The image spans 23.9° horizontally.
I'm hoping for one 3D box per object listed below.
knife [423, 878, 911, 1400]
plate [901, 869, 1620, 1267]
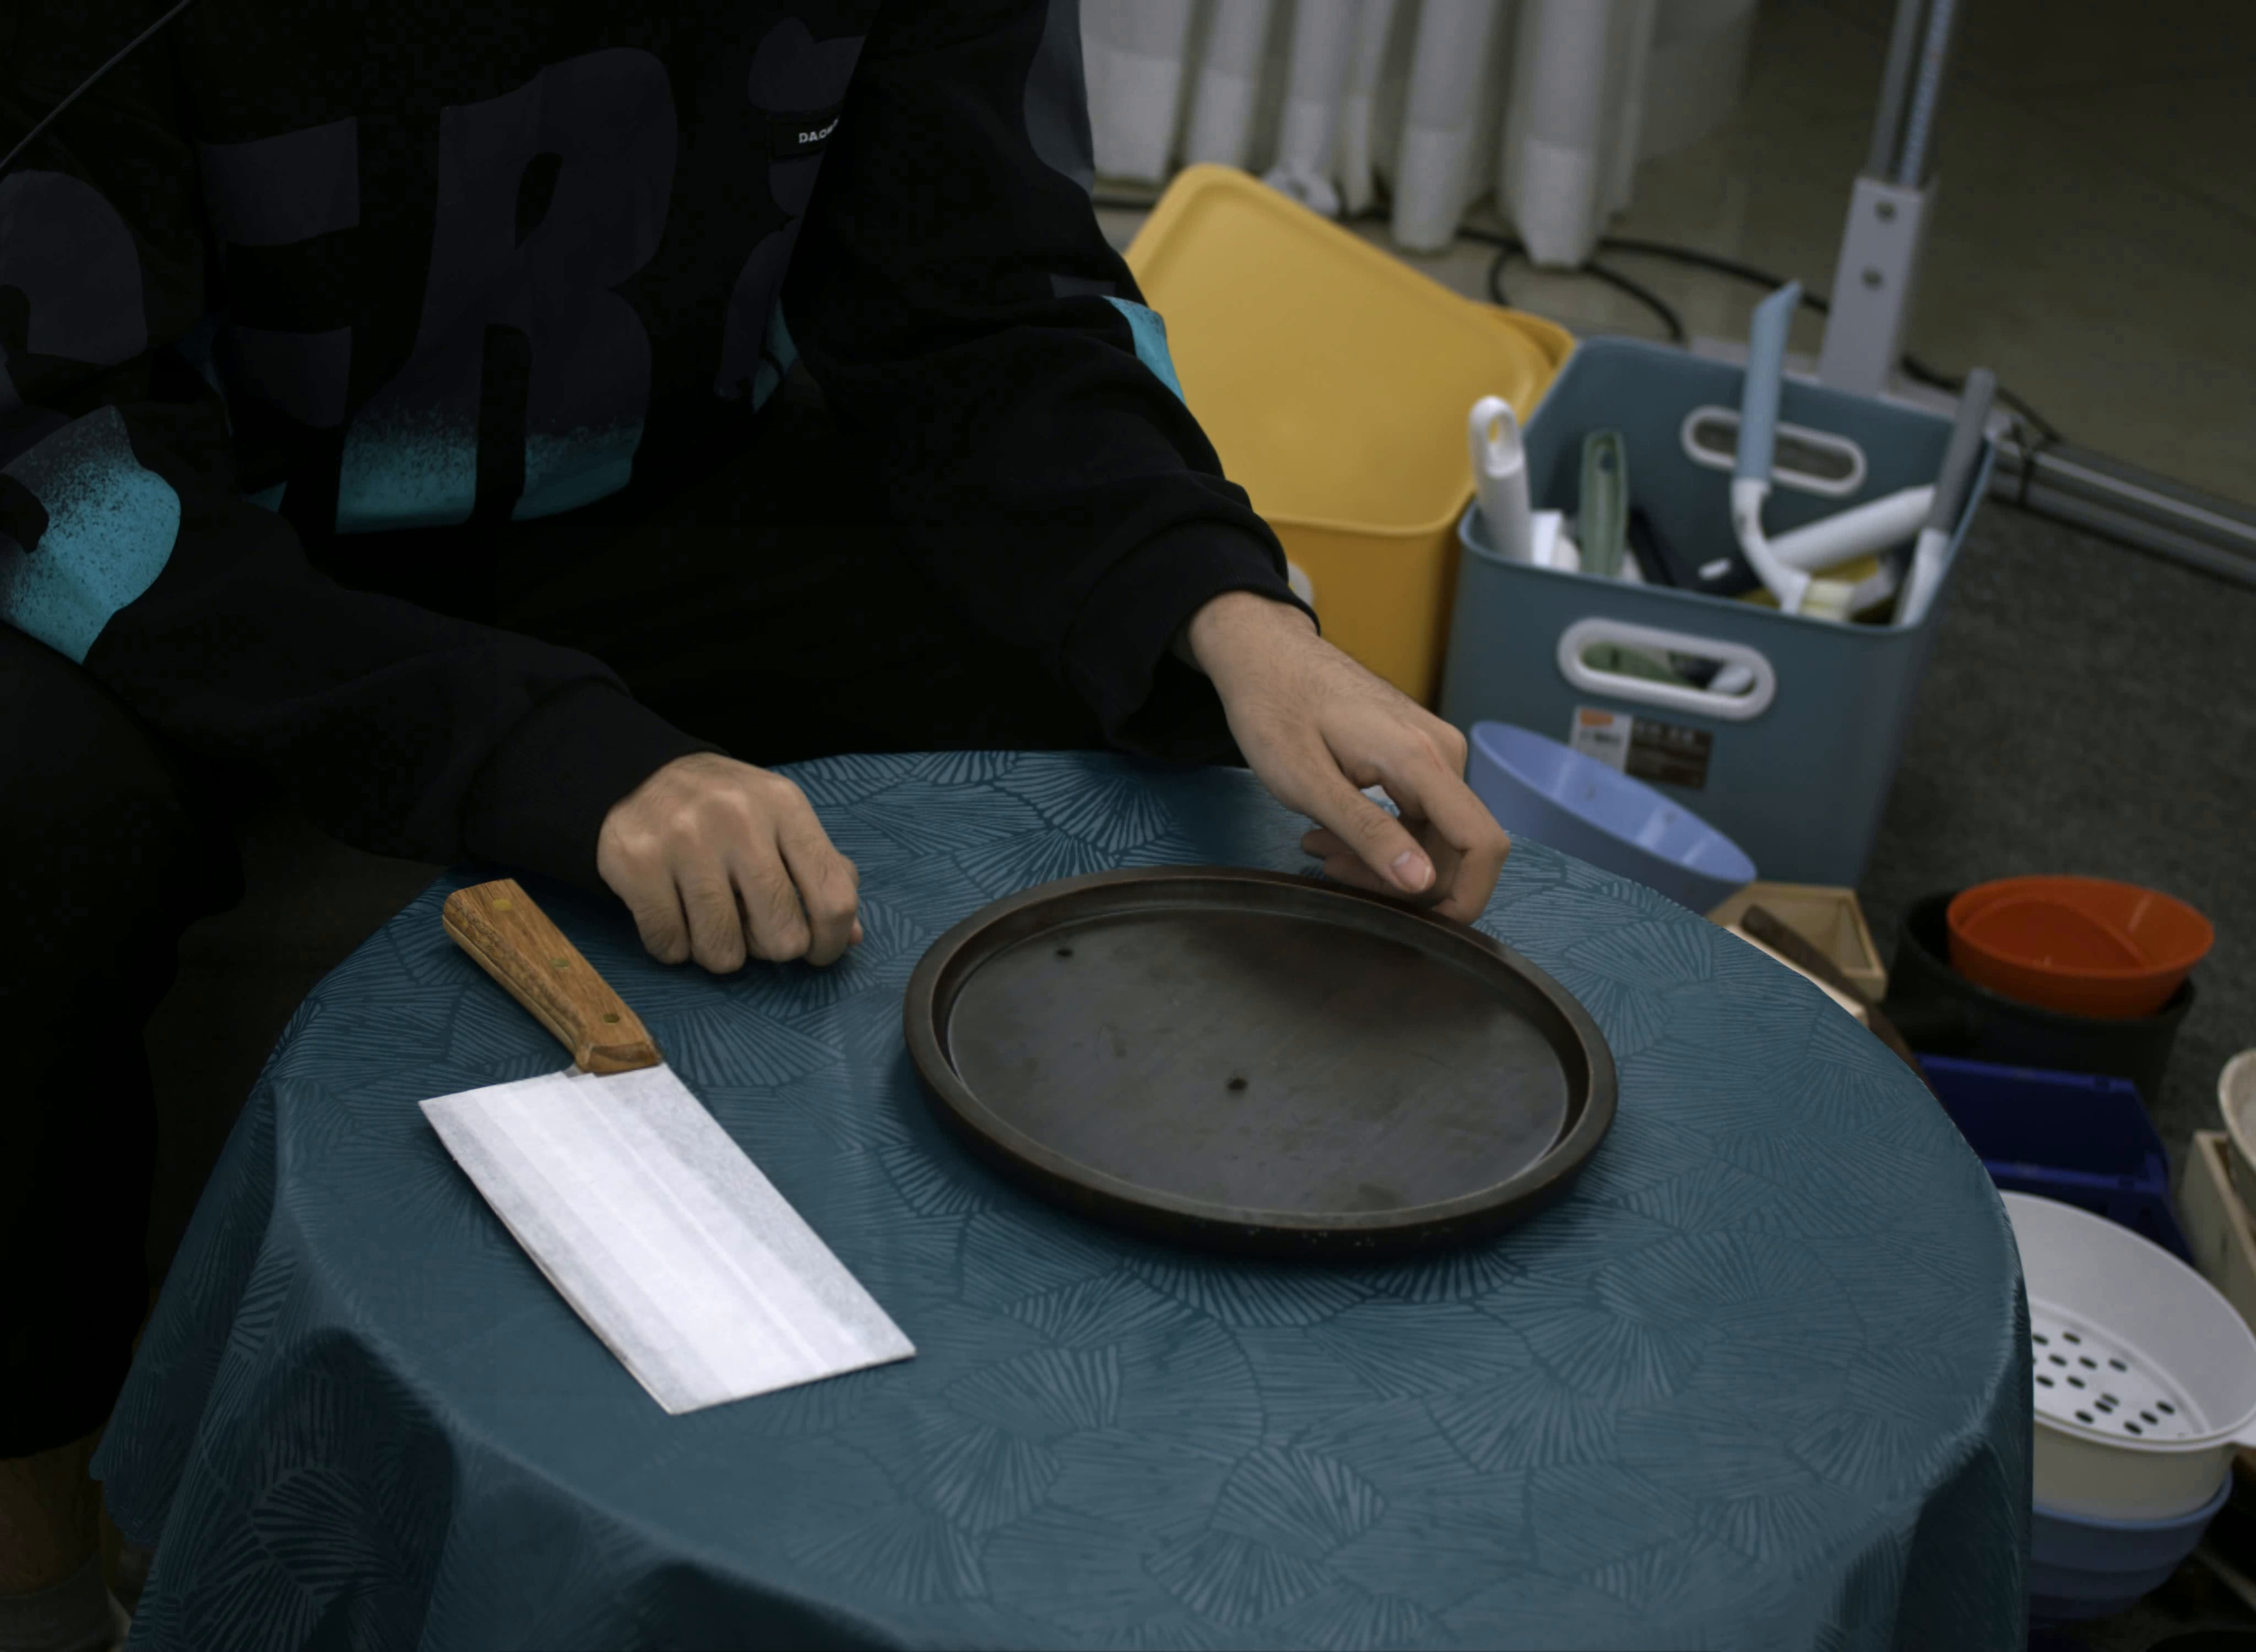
[{"bbox_3d":[-0.181,0.103,1.786,0.092,0.021,0.308,-12,34,-29],"label":"knife"},{"bbox_3d":[0.046,0.082,1.866,0.254,0.029,0.256,4,29,-3],"label":"plate"}]
